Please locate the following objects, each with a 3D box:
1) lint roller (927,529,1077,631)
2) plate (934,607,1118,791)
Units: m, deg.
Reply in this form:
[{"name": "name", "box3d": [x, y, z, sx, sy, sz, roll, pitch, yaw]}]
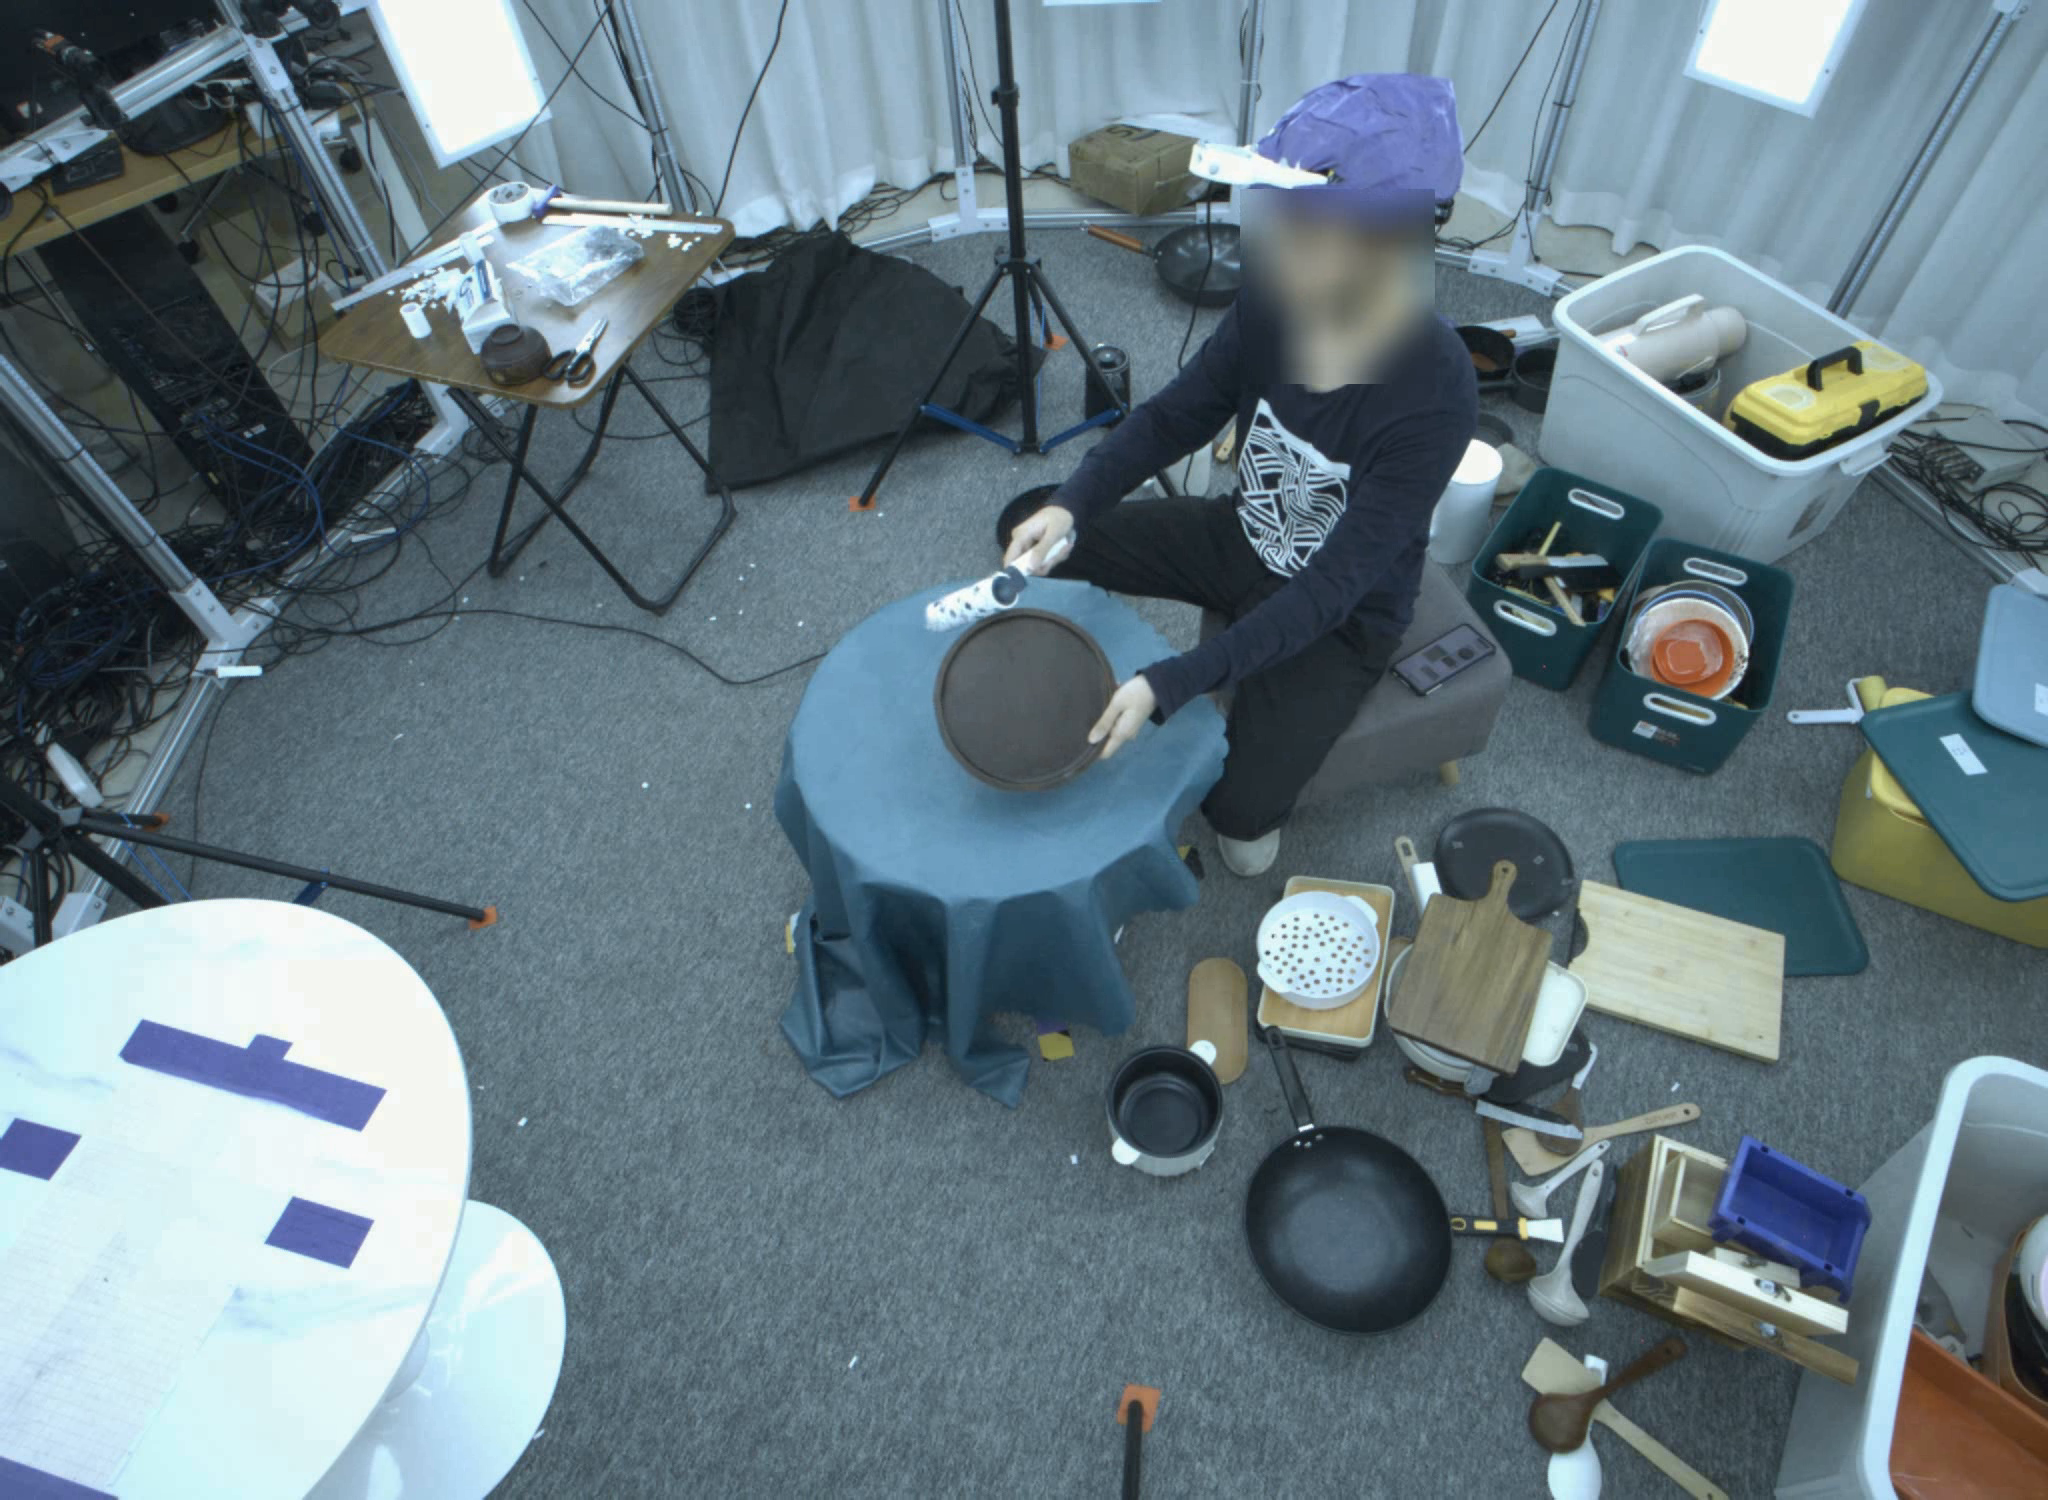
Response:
[{"name": "lint roller", "box3d": [-0.011, -0.256, 1.726, 0.249, 0.173, 0.051, -42, 107, -35]}, {"name": "plate", "box3d": [0.003, -0.069, 1.689, 0.257, 0.029, 0.255, 0, 92, -10]}]
